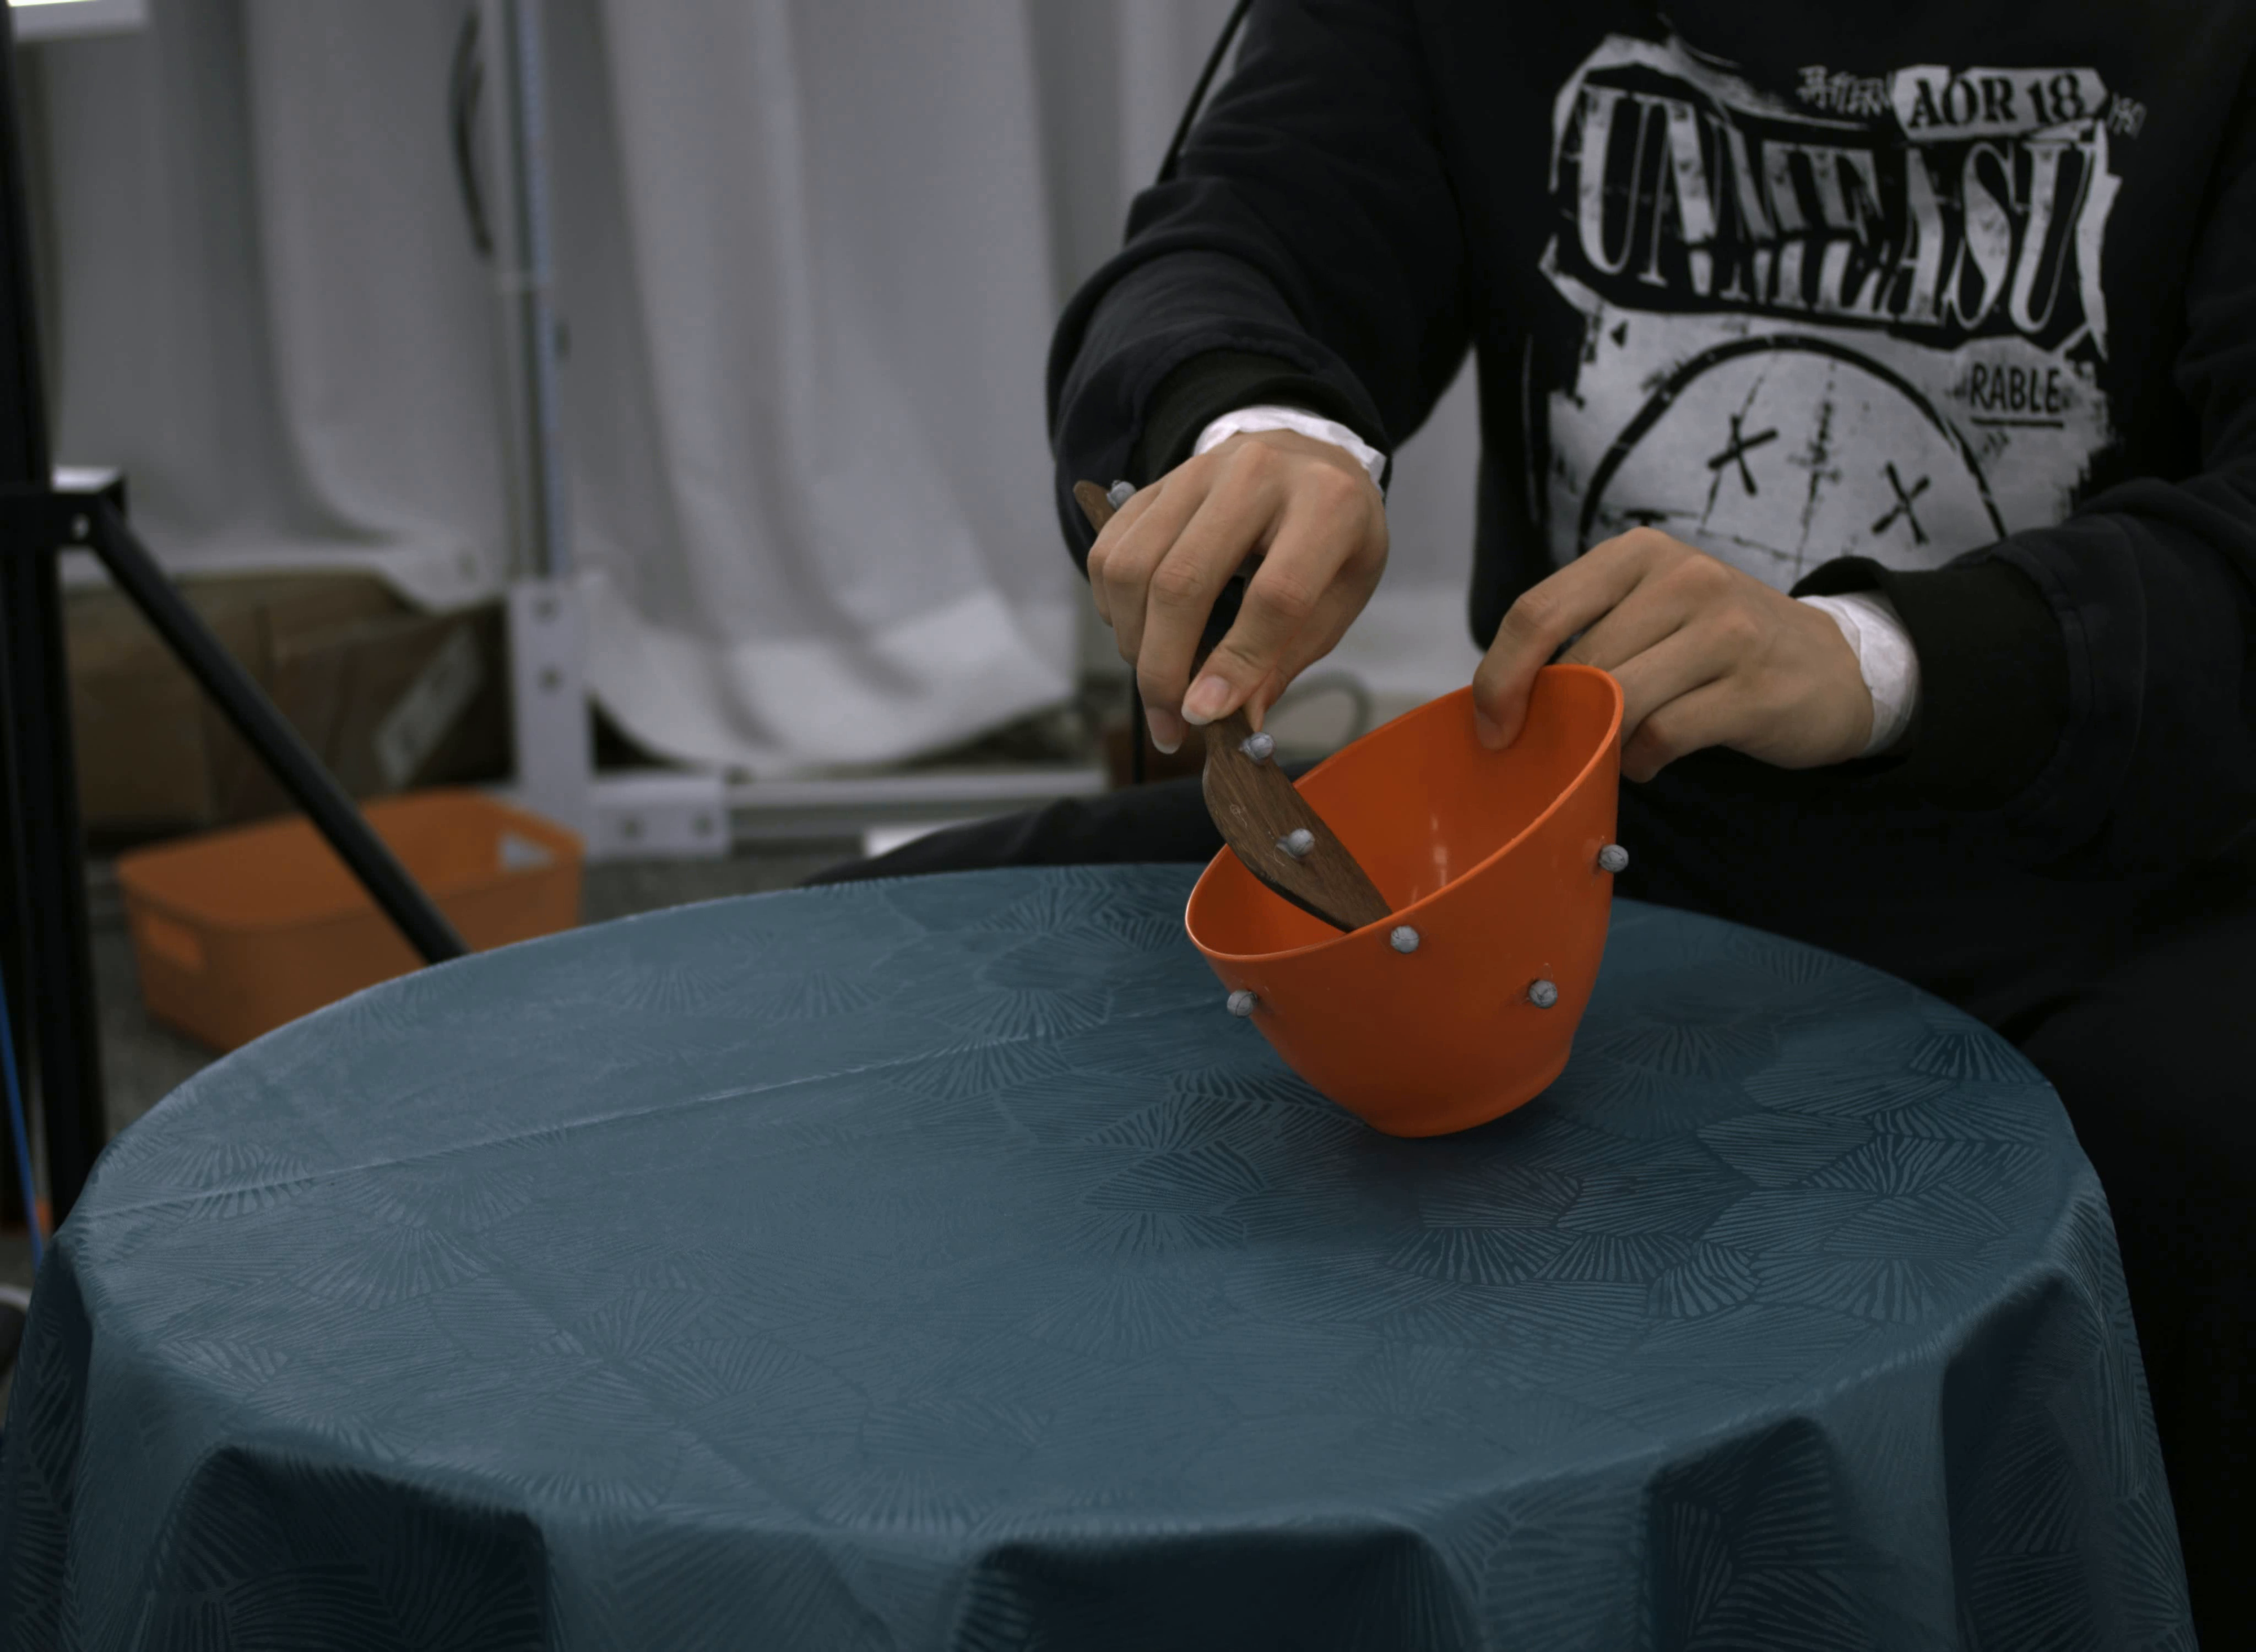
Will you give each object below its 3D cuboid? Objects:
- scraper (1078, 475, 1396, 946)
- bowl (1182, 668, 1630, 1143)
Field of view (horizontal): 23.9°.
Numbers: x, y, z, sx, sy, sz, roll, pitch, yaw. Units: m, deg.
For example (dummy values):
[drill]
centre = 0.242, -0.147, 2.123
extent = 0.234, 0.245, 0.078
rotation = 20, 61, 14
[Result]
[scraper]
centre = 0.027, -0.037, 1.592
extent = 0.074, 0.011, 0.215
rotation = 29, 24, -41
[bowl]
centre = 0.095, 0.032, 1.588
extent = 0.148, 0.104, 0.149
rotation = -19, 22, 7
